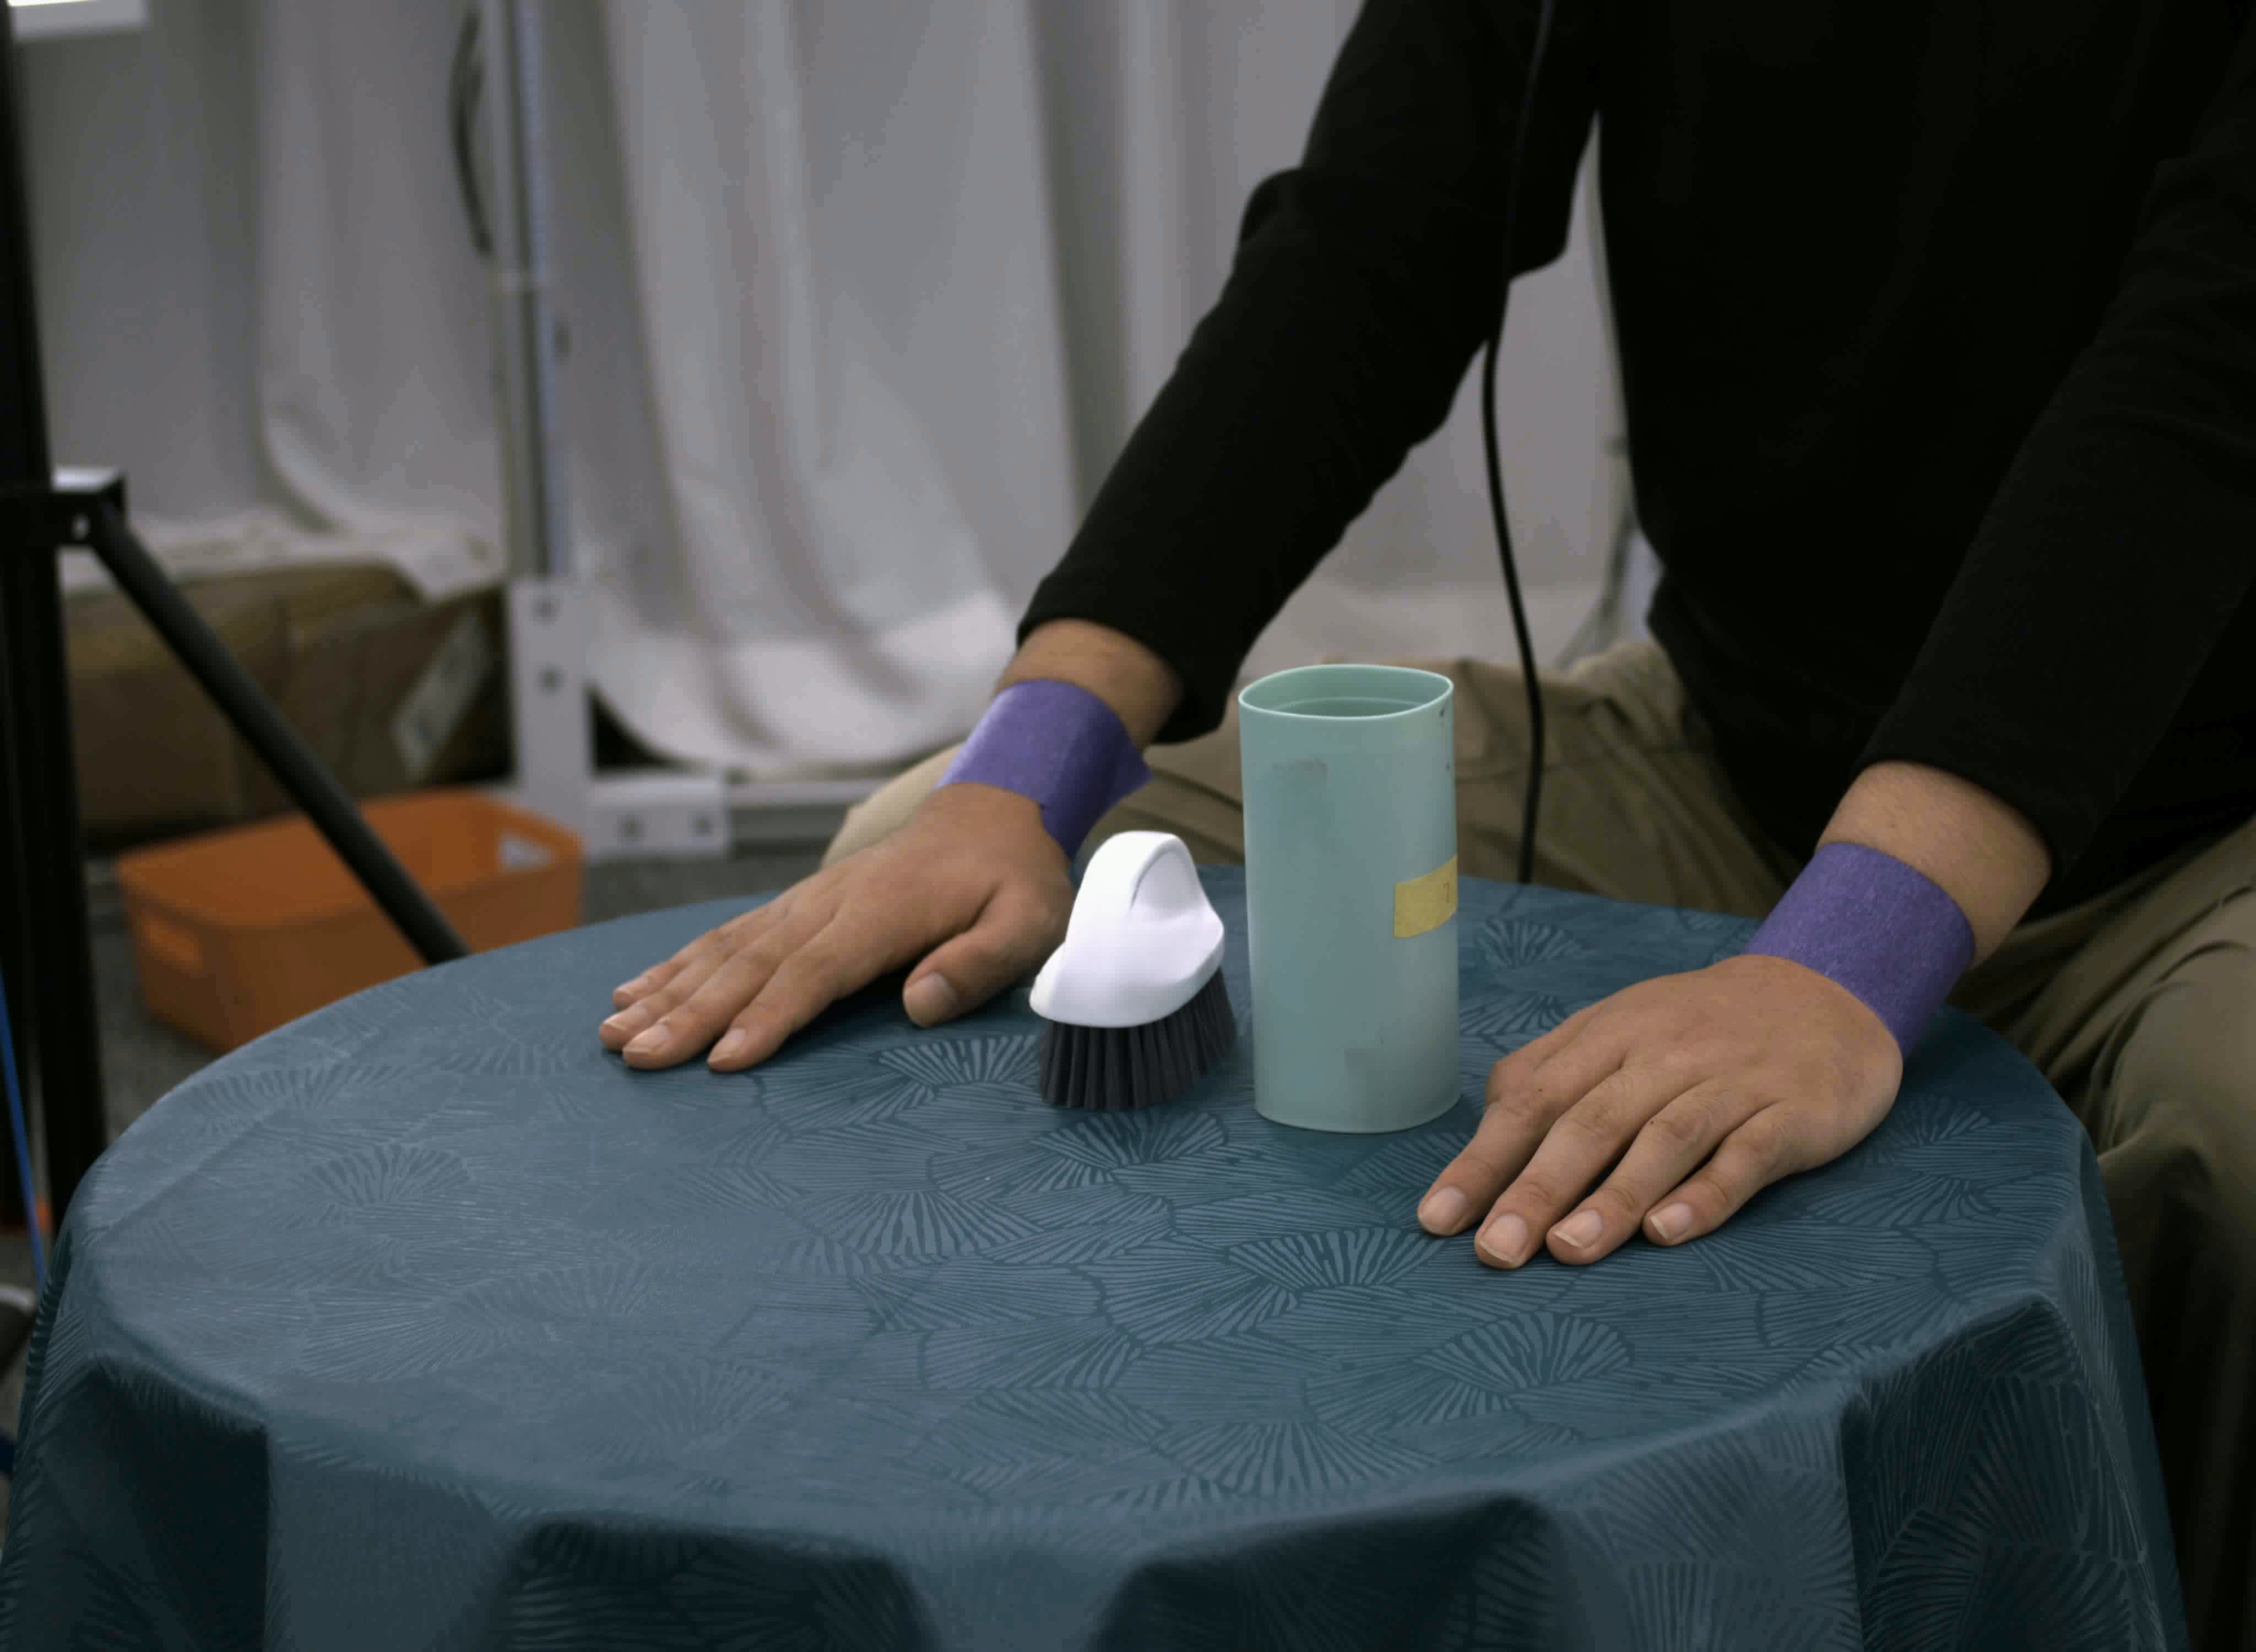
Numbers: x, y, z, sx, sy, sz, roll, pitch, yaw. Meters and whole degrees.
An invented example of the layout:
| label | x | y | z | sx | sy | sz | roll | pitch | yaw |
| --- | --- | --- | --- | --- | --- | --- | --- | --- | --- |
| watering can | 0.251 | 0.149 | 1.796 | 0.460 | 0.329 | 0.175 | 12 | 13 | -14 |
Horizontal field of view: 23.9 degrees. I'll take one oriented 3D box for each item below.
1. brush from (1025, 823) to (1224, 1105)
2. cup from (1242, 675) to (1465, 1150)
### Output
| label | x | y | z | sx | sy | sz | roll | pitch | yaw |
| --- | --- | --- | --- | --- | --- | --- | --- | --- | --- |
| brush | -0.001 | 0.038 | 1.668 | 0.051 | 0.072 | 0.098 | 4 | 18 | 18 |
| cup | 0.068 | 0.026 | 1.614 | 0.066 | 0.132 | 0.067 | -3 | 15 | -1 |
